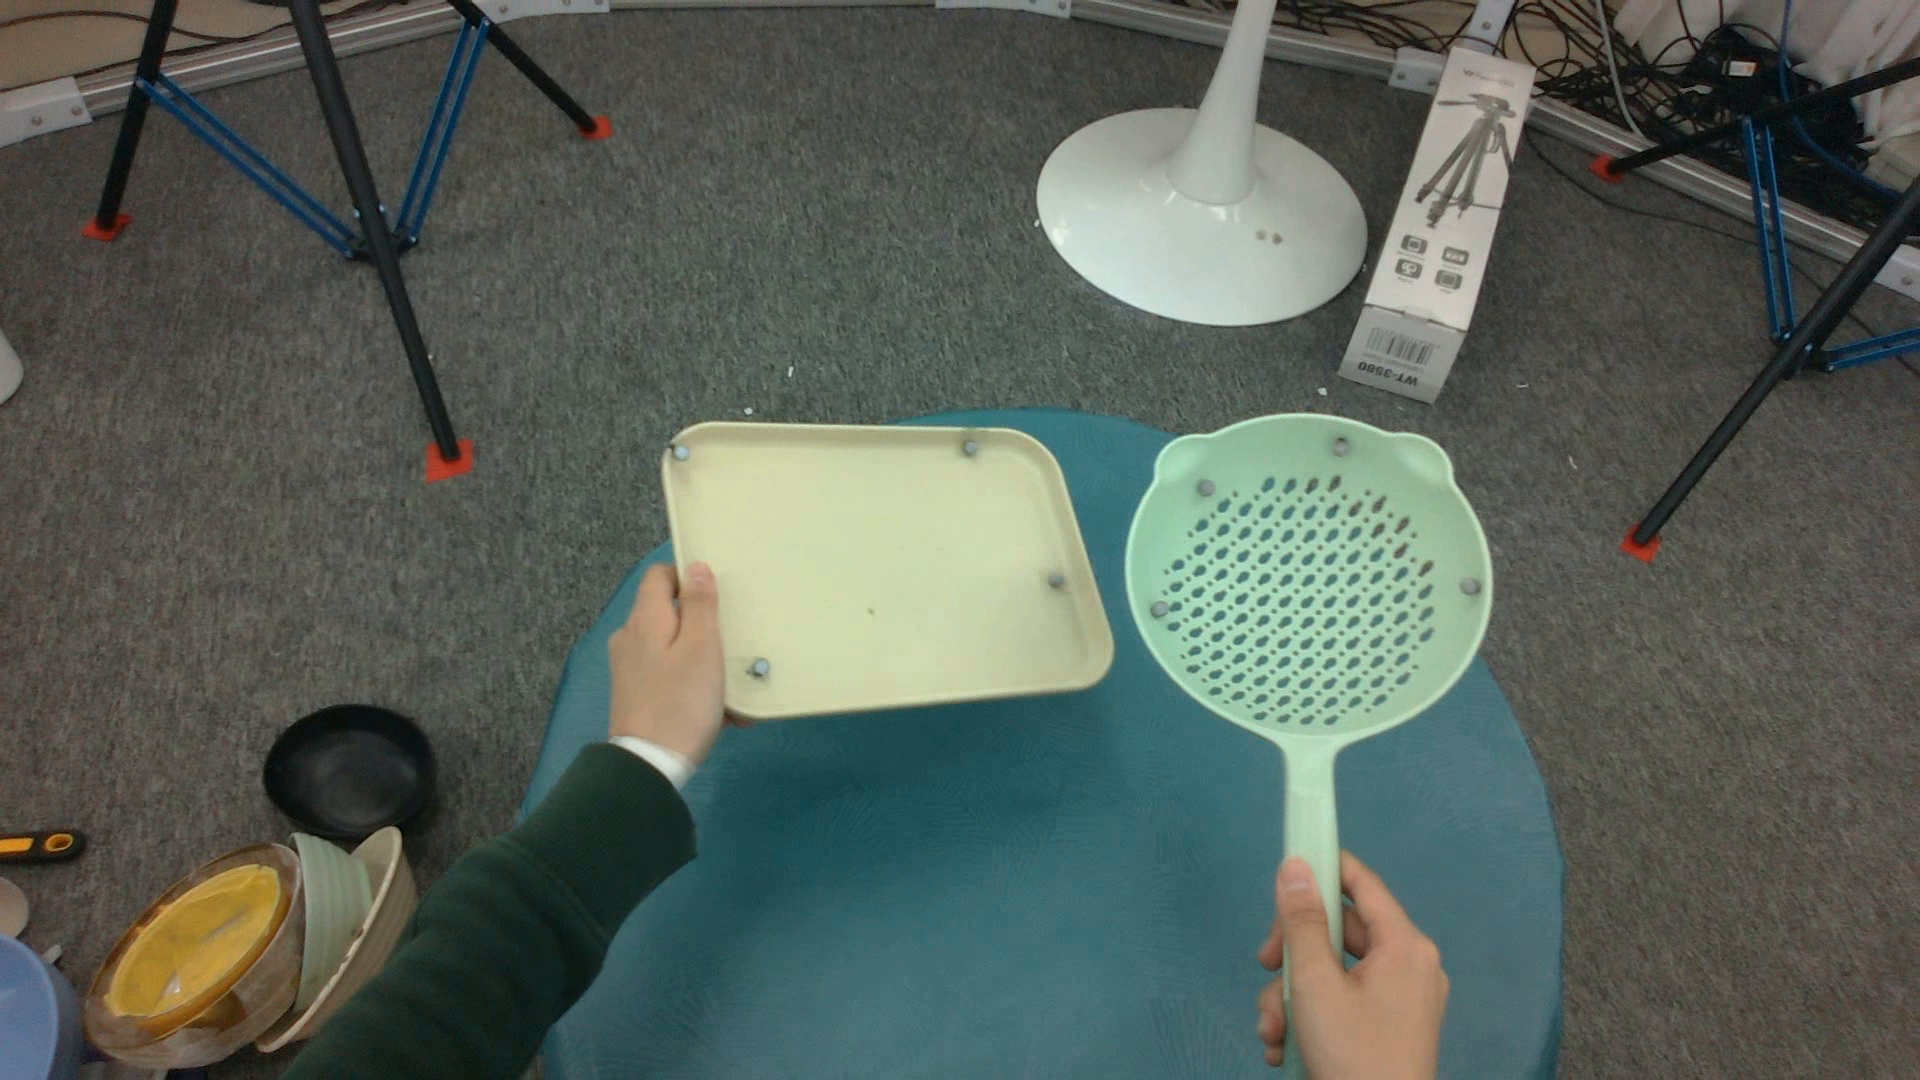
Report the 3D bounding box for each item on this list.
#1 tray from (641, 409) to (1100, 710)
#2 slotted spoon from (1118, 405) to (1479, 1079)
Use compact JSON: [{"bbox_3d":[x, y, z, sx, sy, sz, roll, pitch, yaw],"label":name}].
[{"bbox_3d":[-0.045,0.005,0.740,0.240,0.017,0.172,-3,62,-28],"label":"tray"},{"bbox_3d":[0.153,0.101,0.629,0.169,0.075,0.360,2,56,10],"label":"slotted spoon"}]
